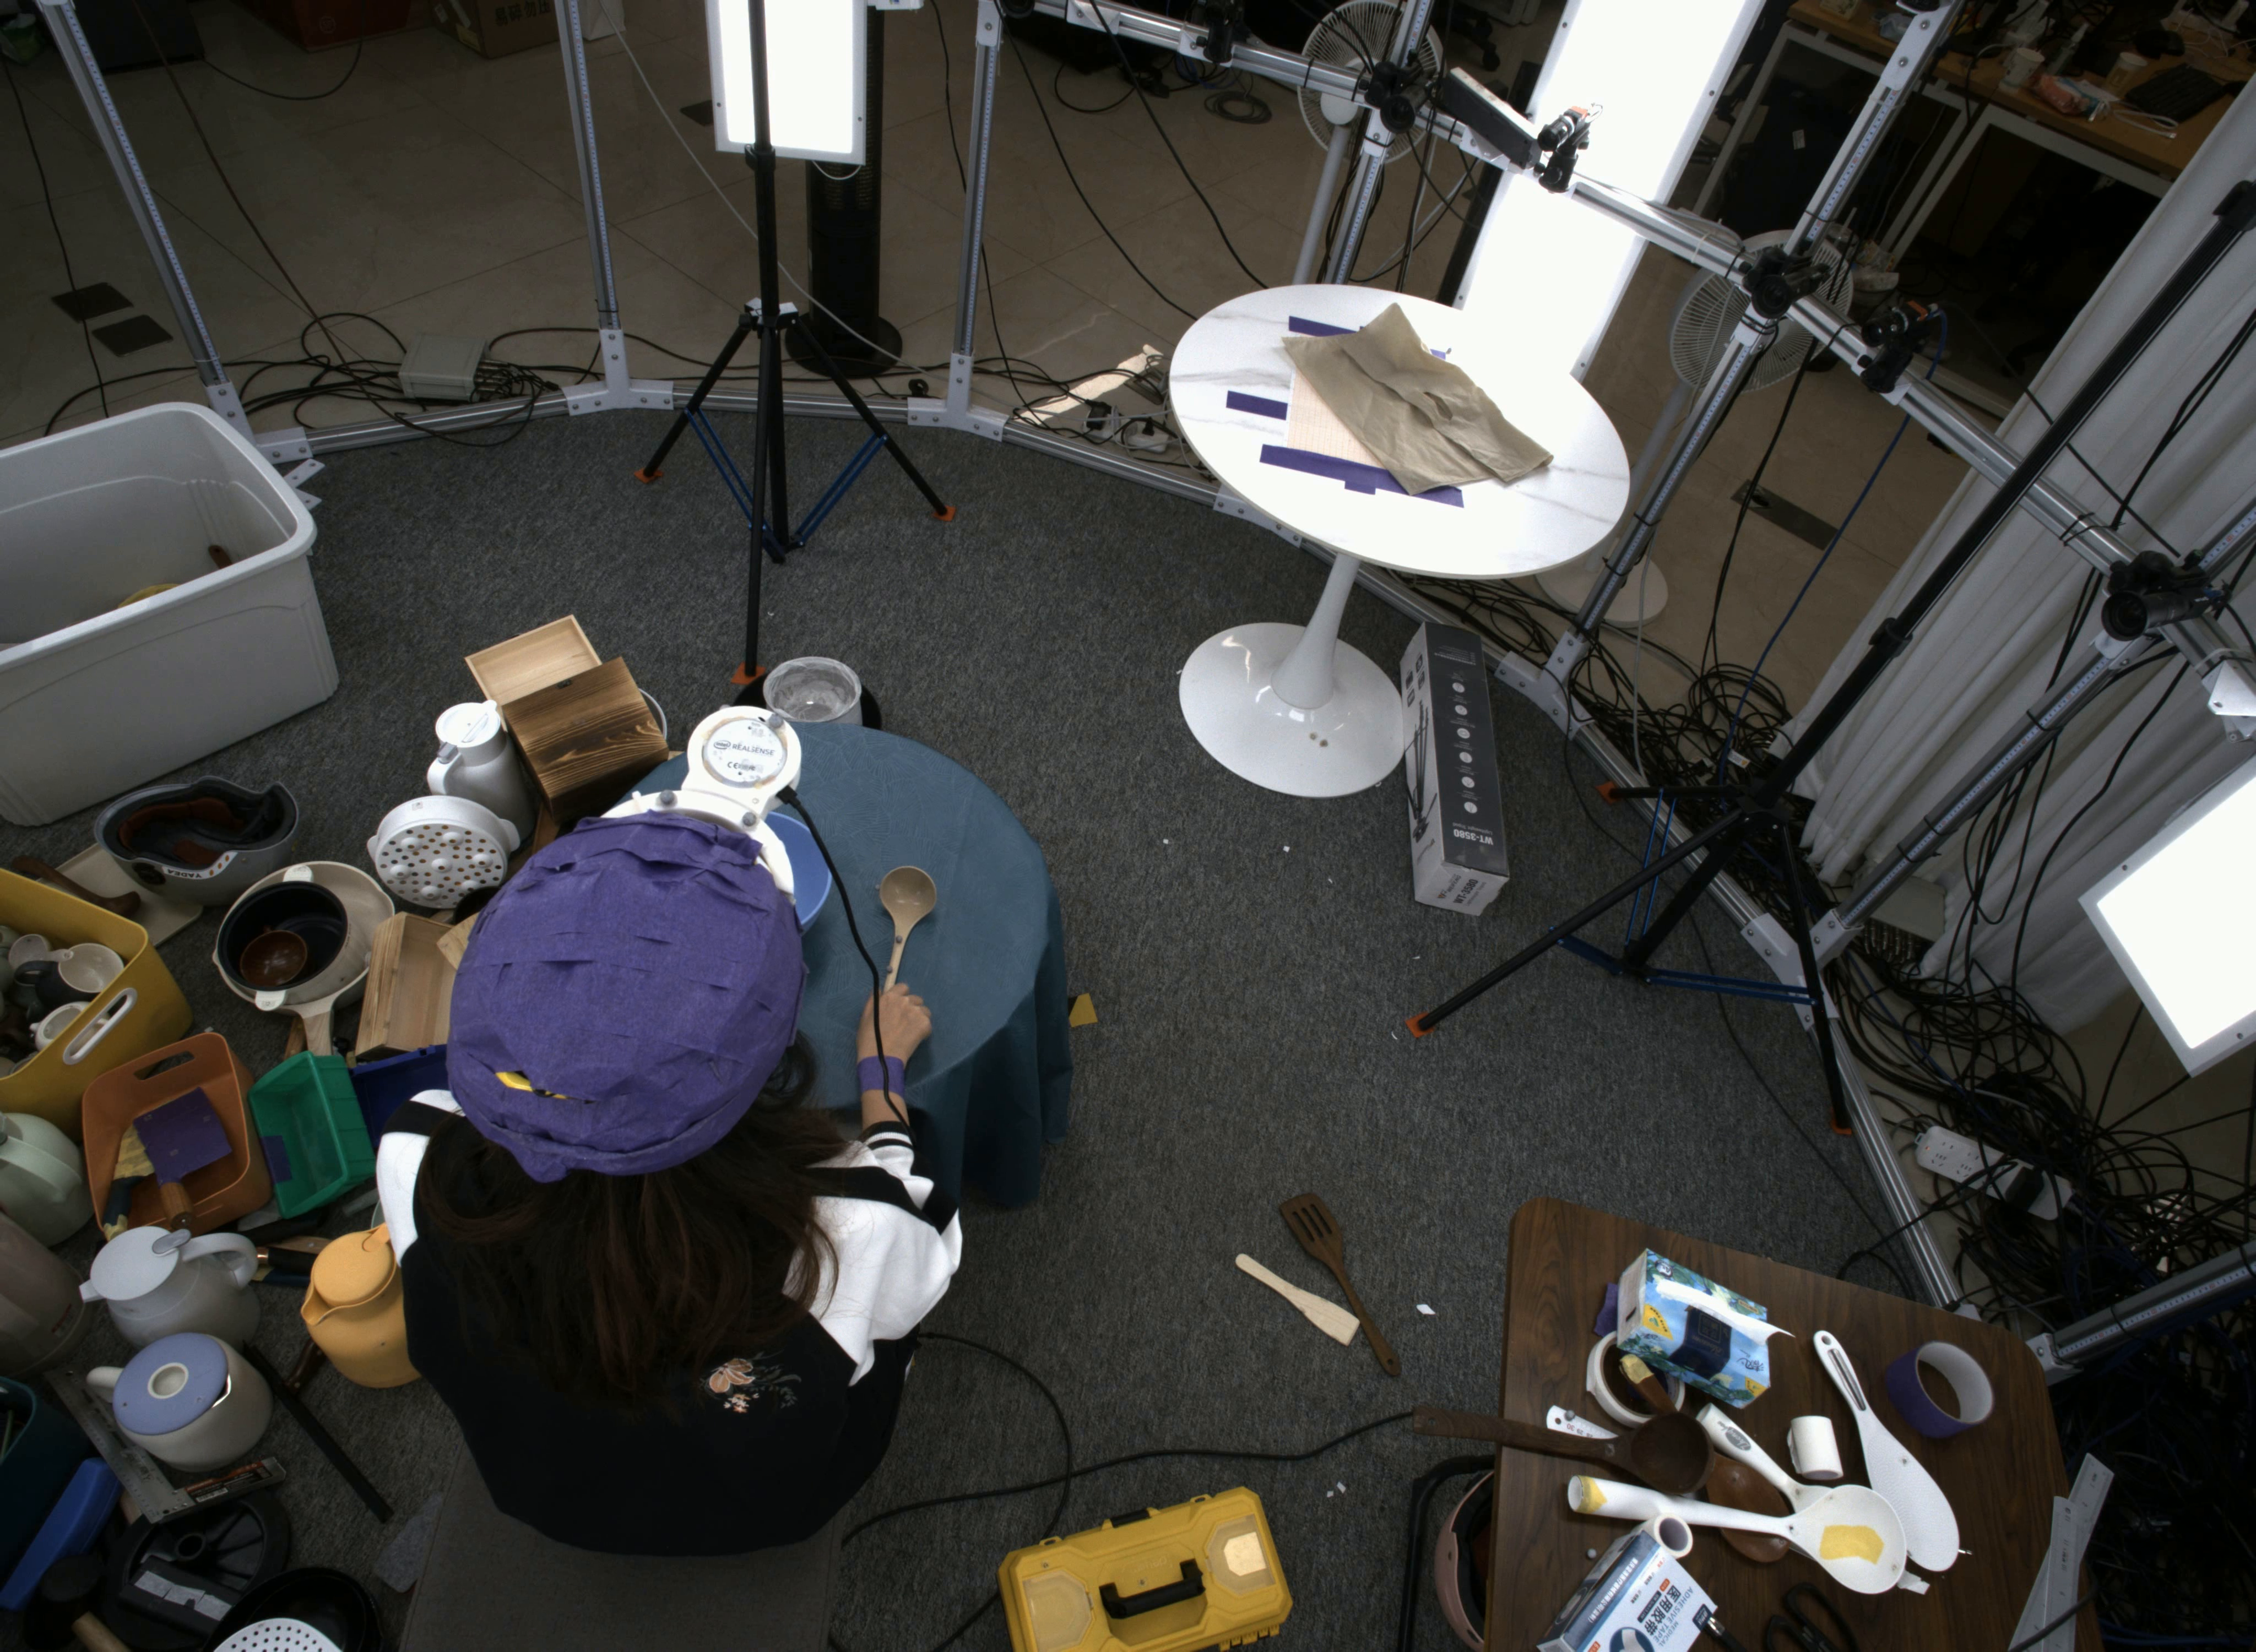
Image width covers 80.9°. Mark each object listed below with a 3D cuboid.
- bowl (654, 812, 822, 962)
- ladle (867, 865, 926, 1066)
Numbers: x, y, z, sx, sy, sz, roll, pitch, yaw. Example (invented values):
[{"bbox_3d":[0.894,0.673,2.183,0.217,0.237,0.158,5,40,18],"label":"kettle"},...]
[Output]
[{"bbox_3d":[-0.475,0.088,1.583,0.196,0.097,0.193,9,52,-10],"label":"bowl"},{"bbox_3d":[-0.294,0.160,1.586,0.072,0.074,0.250,7,52,-6],"label":"ladle"}]
